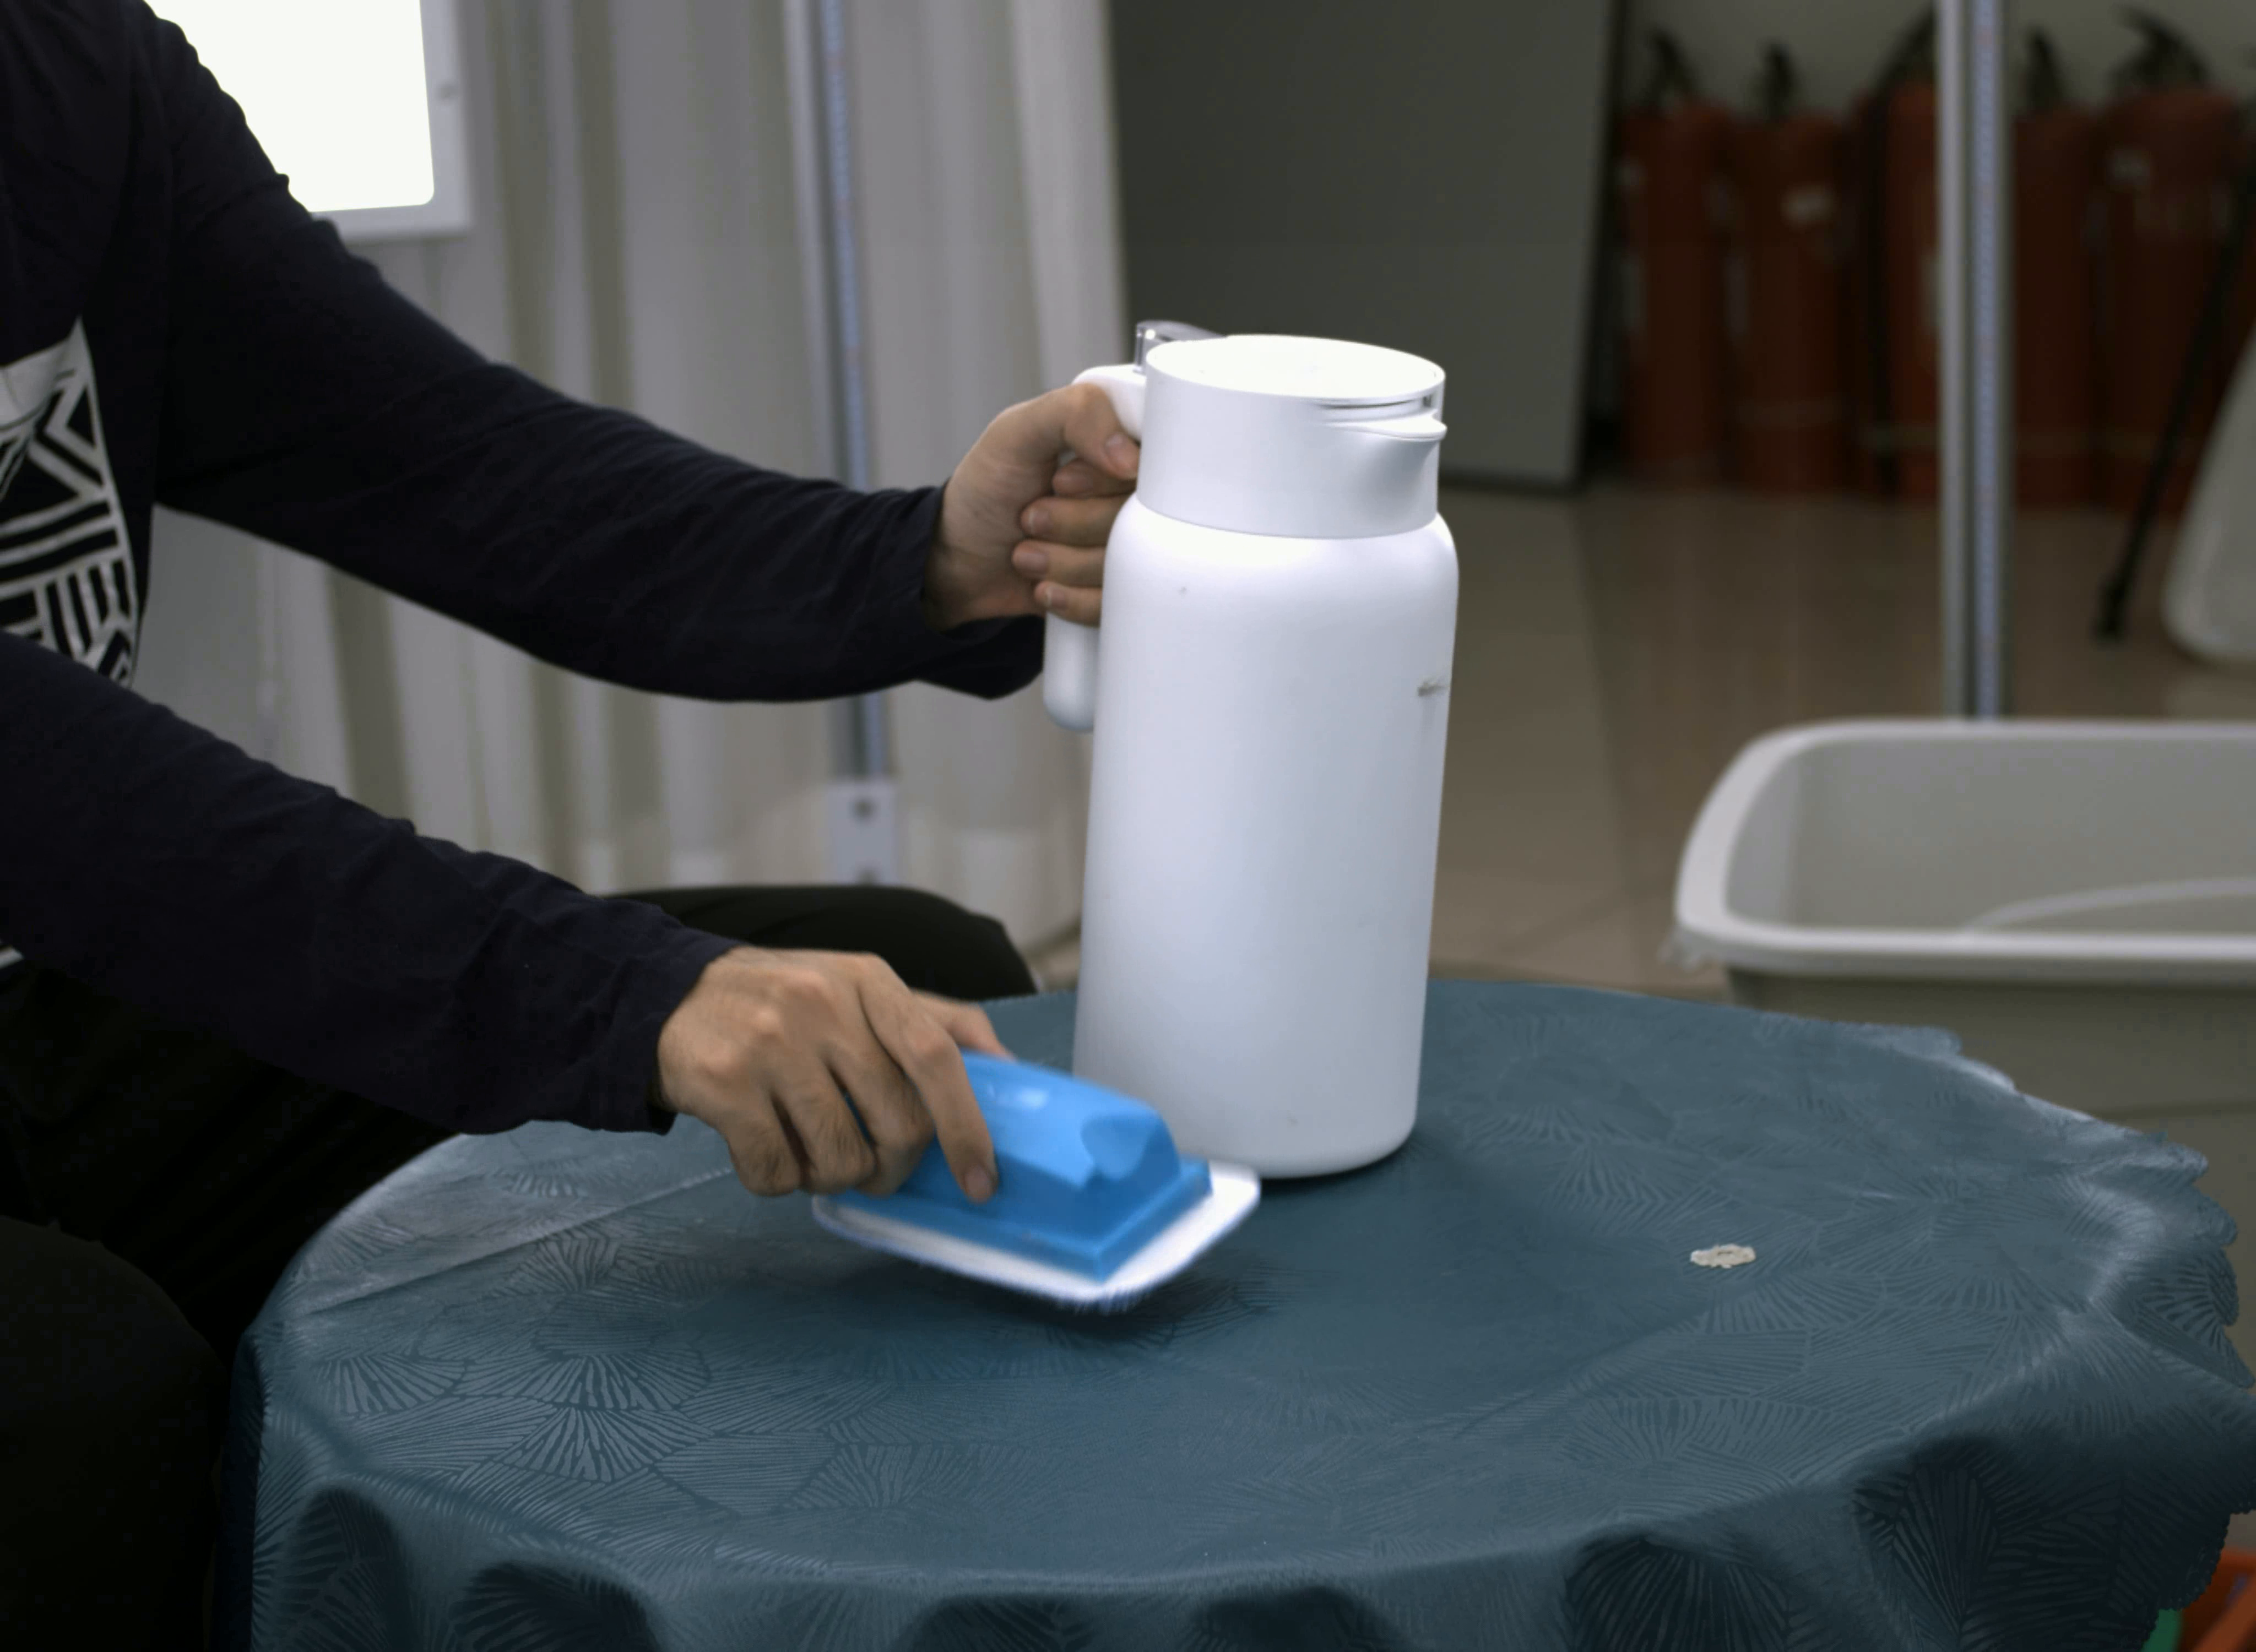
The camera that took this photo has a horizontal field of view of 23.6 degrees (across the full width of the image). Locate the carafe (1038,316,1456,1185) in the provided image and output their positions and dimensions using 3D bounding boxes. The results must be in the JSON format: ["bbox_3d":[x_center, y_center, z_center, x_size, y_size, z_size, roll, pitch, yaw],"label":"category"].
[{"bbox_3d":[0.034,-0.028,1.787,0.121,0.272,0.174,-13,21,-39],"label":"carafe"}]

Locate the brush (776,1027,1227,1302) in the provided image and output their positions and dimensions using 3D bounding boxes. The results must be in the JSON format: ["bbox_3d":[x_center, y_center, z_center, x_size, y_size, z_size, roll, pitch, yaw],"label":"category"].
[{"bbox_3d":[-0.041,0.102,1.682,0.145,0.056,0.082,18,34,42],"label":"brush"}]
